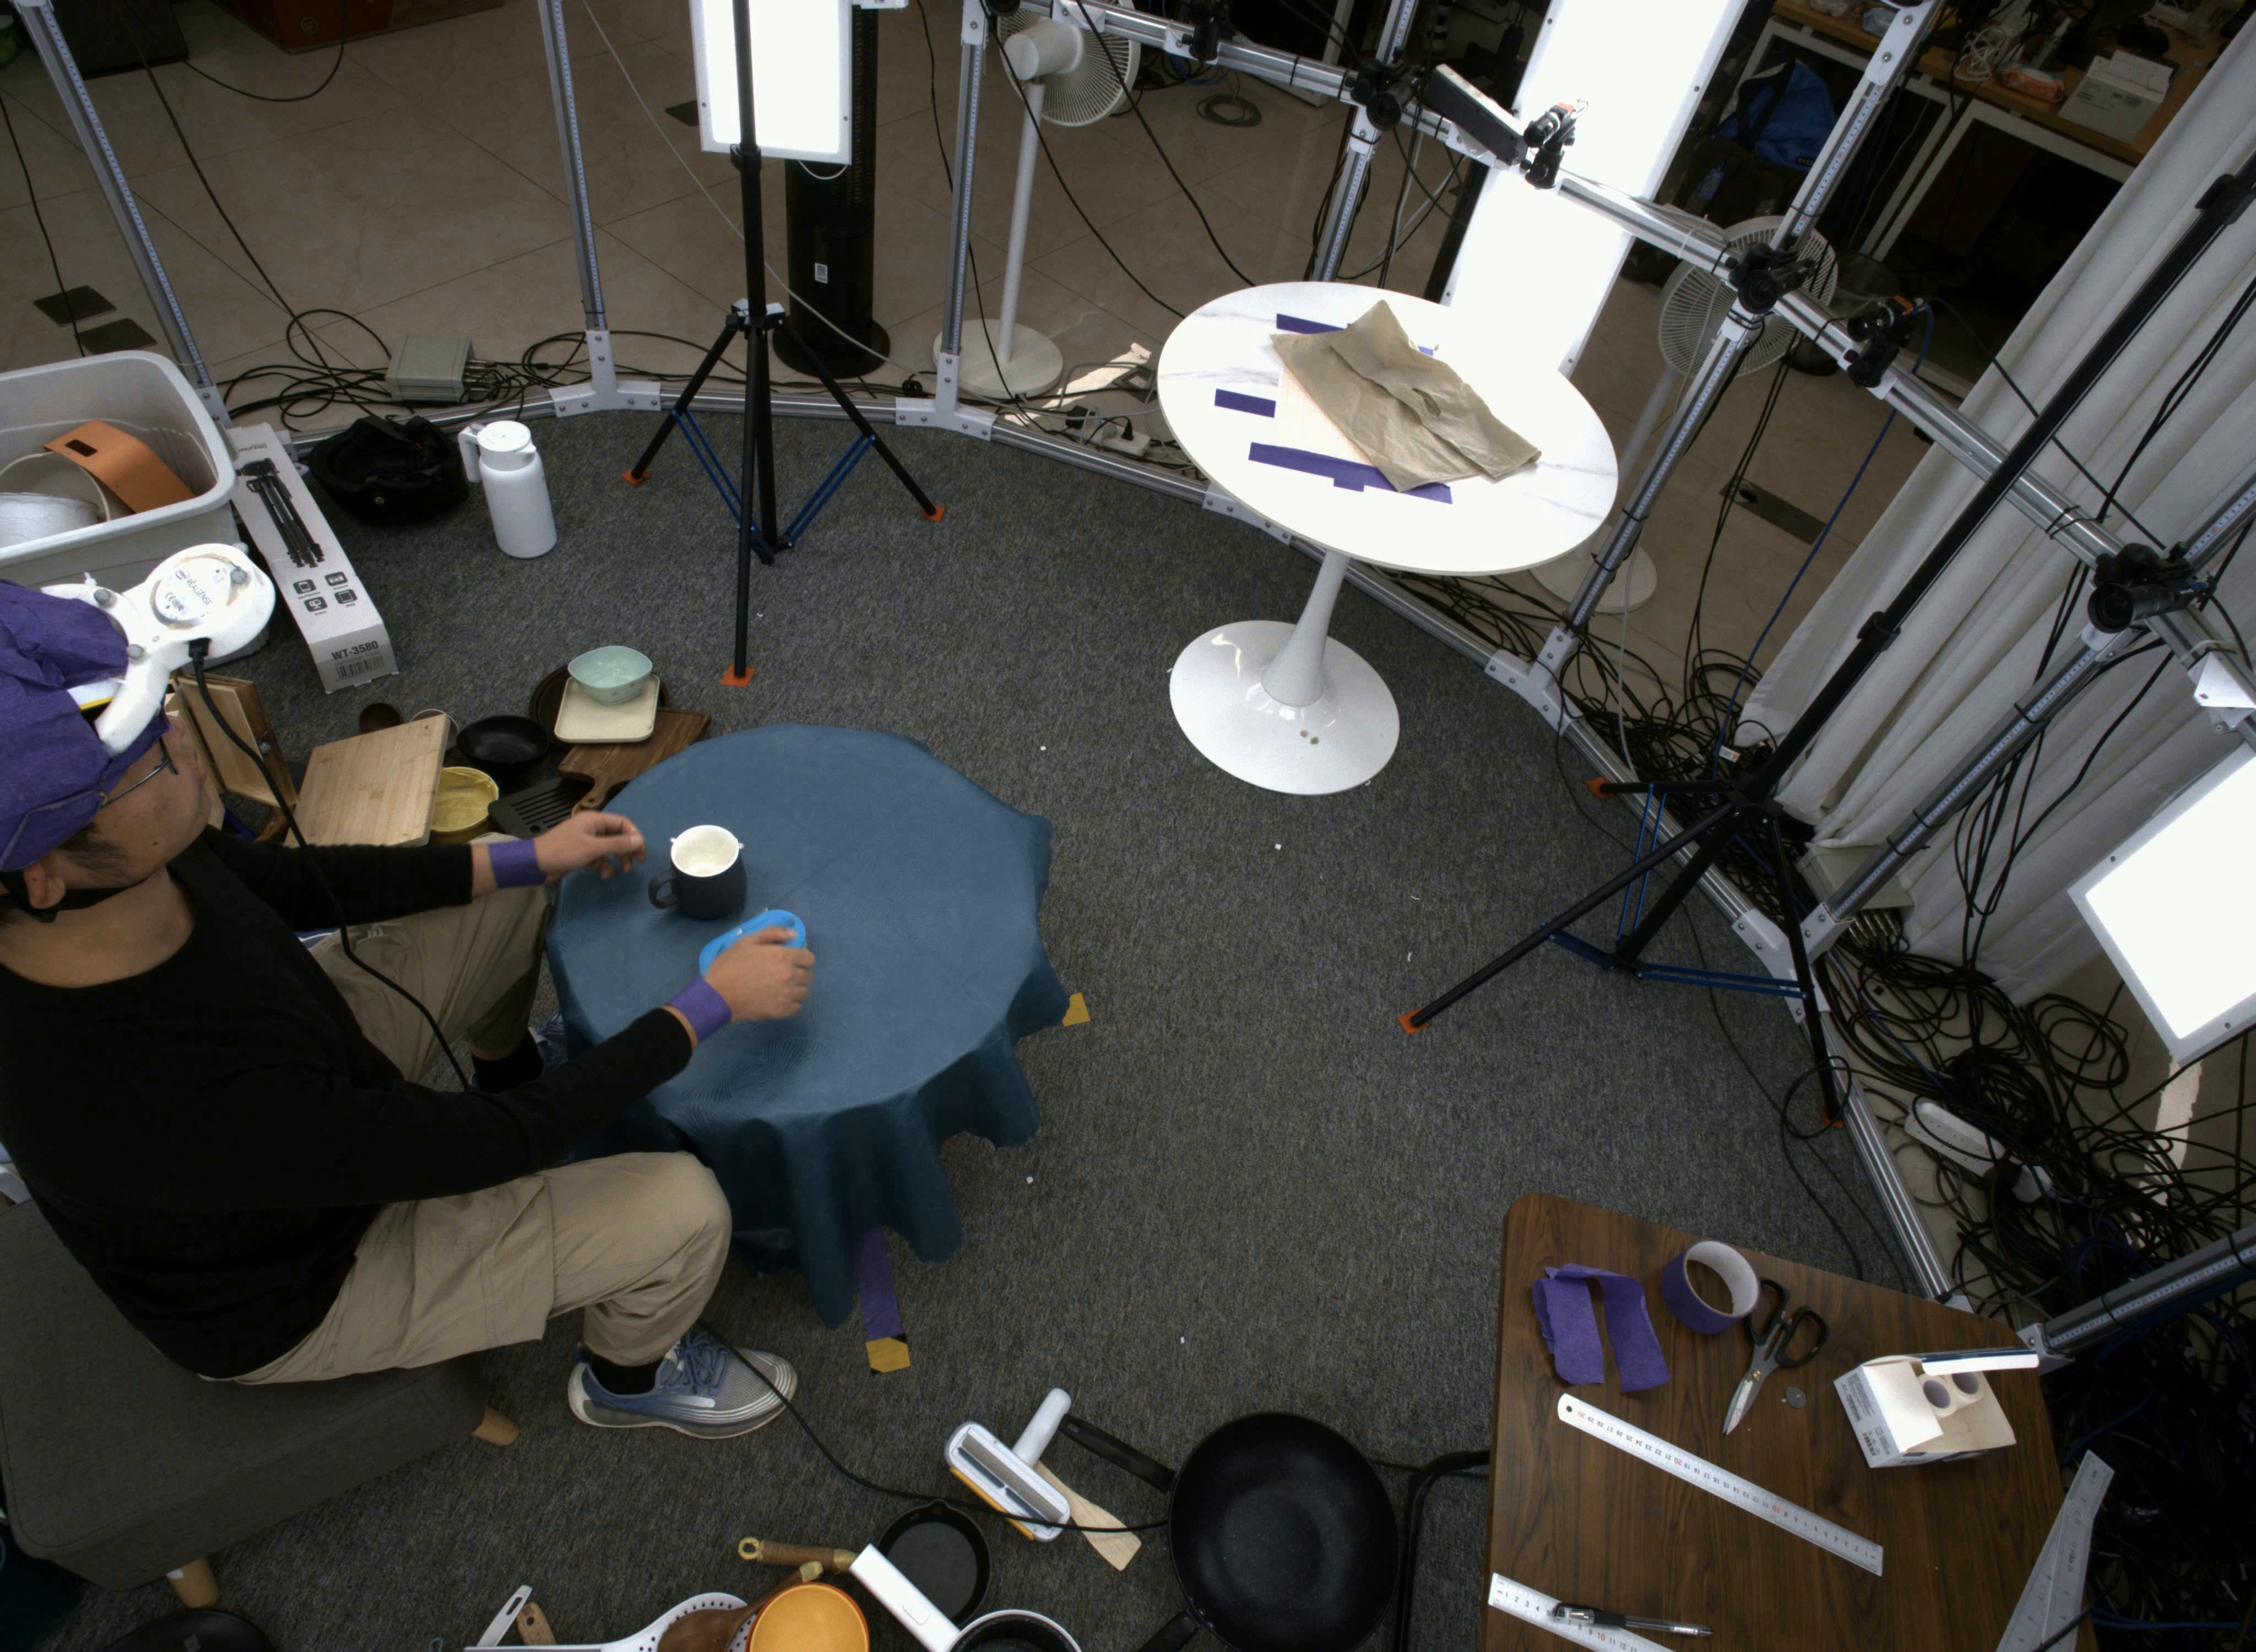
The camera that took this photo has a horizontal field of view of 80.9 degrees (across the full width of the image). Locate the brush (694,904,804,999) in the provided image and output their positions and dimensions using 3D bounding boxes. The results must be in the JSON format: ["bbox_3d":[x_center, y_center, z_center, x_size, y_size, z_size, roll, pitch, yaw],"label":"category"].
[{"bbox_3d":[-0.457,0.144,1.570,0.142,0.065,0.083,-31,70,-30],"label":"brush"}]

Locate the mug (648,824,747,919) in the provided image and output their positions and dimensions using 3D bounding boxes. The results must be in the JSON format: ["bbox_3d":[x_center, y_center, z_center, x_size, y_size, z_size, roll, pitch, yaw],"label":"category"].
[{"bbox_3d":[-0.534,0.060,1.594,0.124,0.092,0.091,-24,61,-30],"label":"mug"}]
